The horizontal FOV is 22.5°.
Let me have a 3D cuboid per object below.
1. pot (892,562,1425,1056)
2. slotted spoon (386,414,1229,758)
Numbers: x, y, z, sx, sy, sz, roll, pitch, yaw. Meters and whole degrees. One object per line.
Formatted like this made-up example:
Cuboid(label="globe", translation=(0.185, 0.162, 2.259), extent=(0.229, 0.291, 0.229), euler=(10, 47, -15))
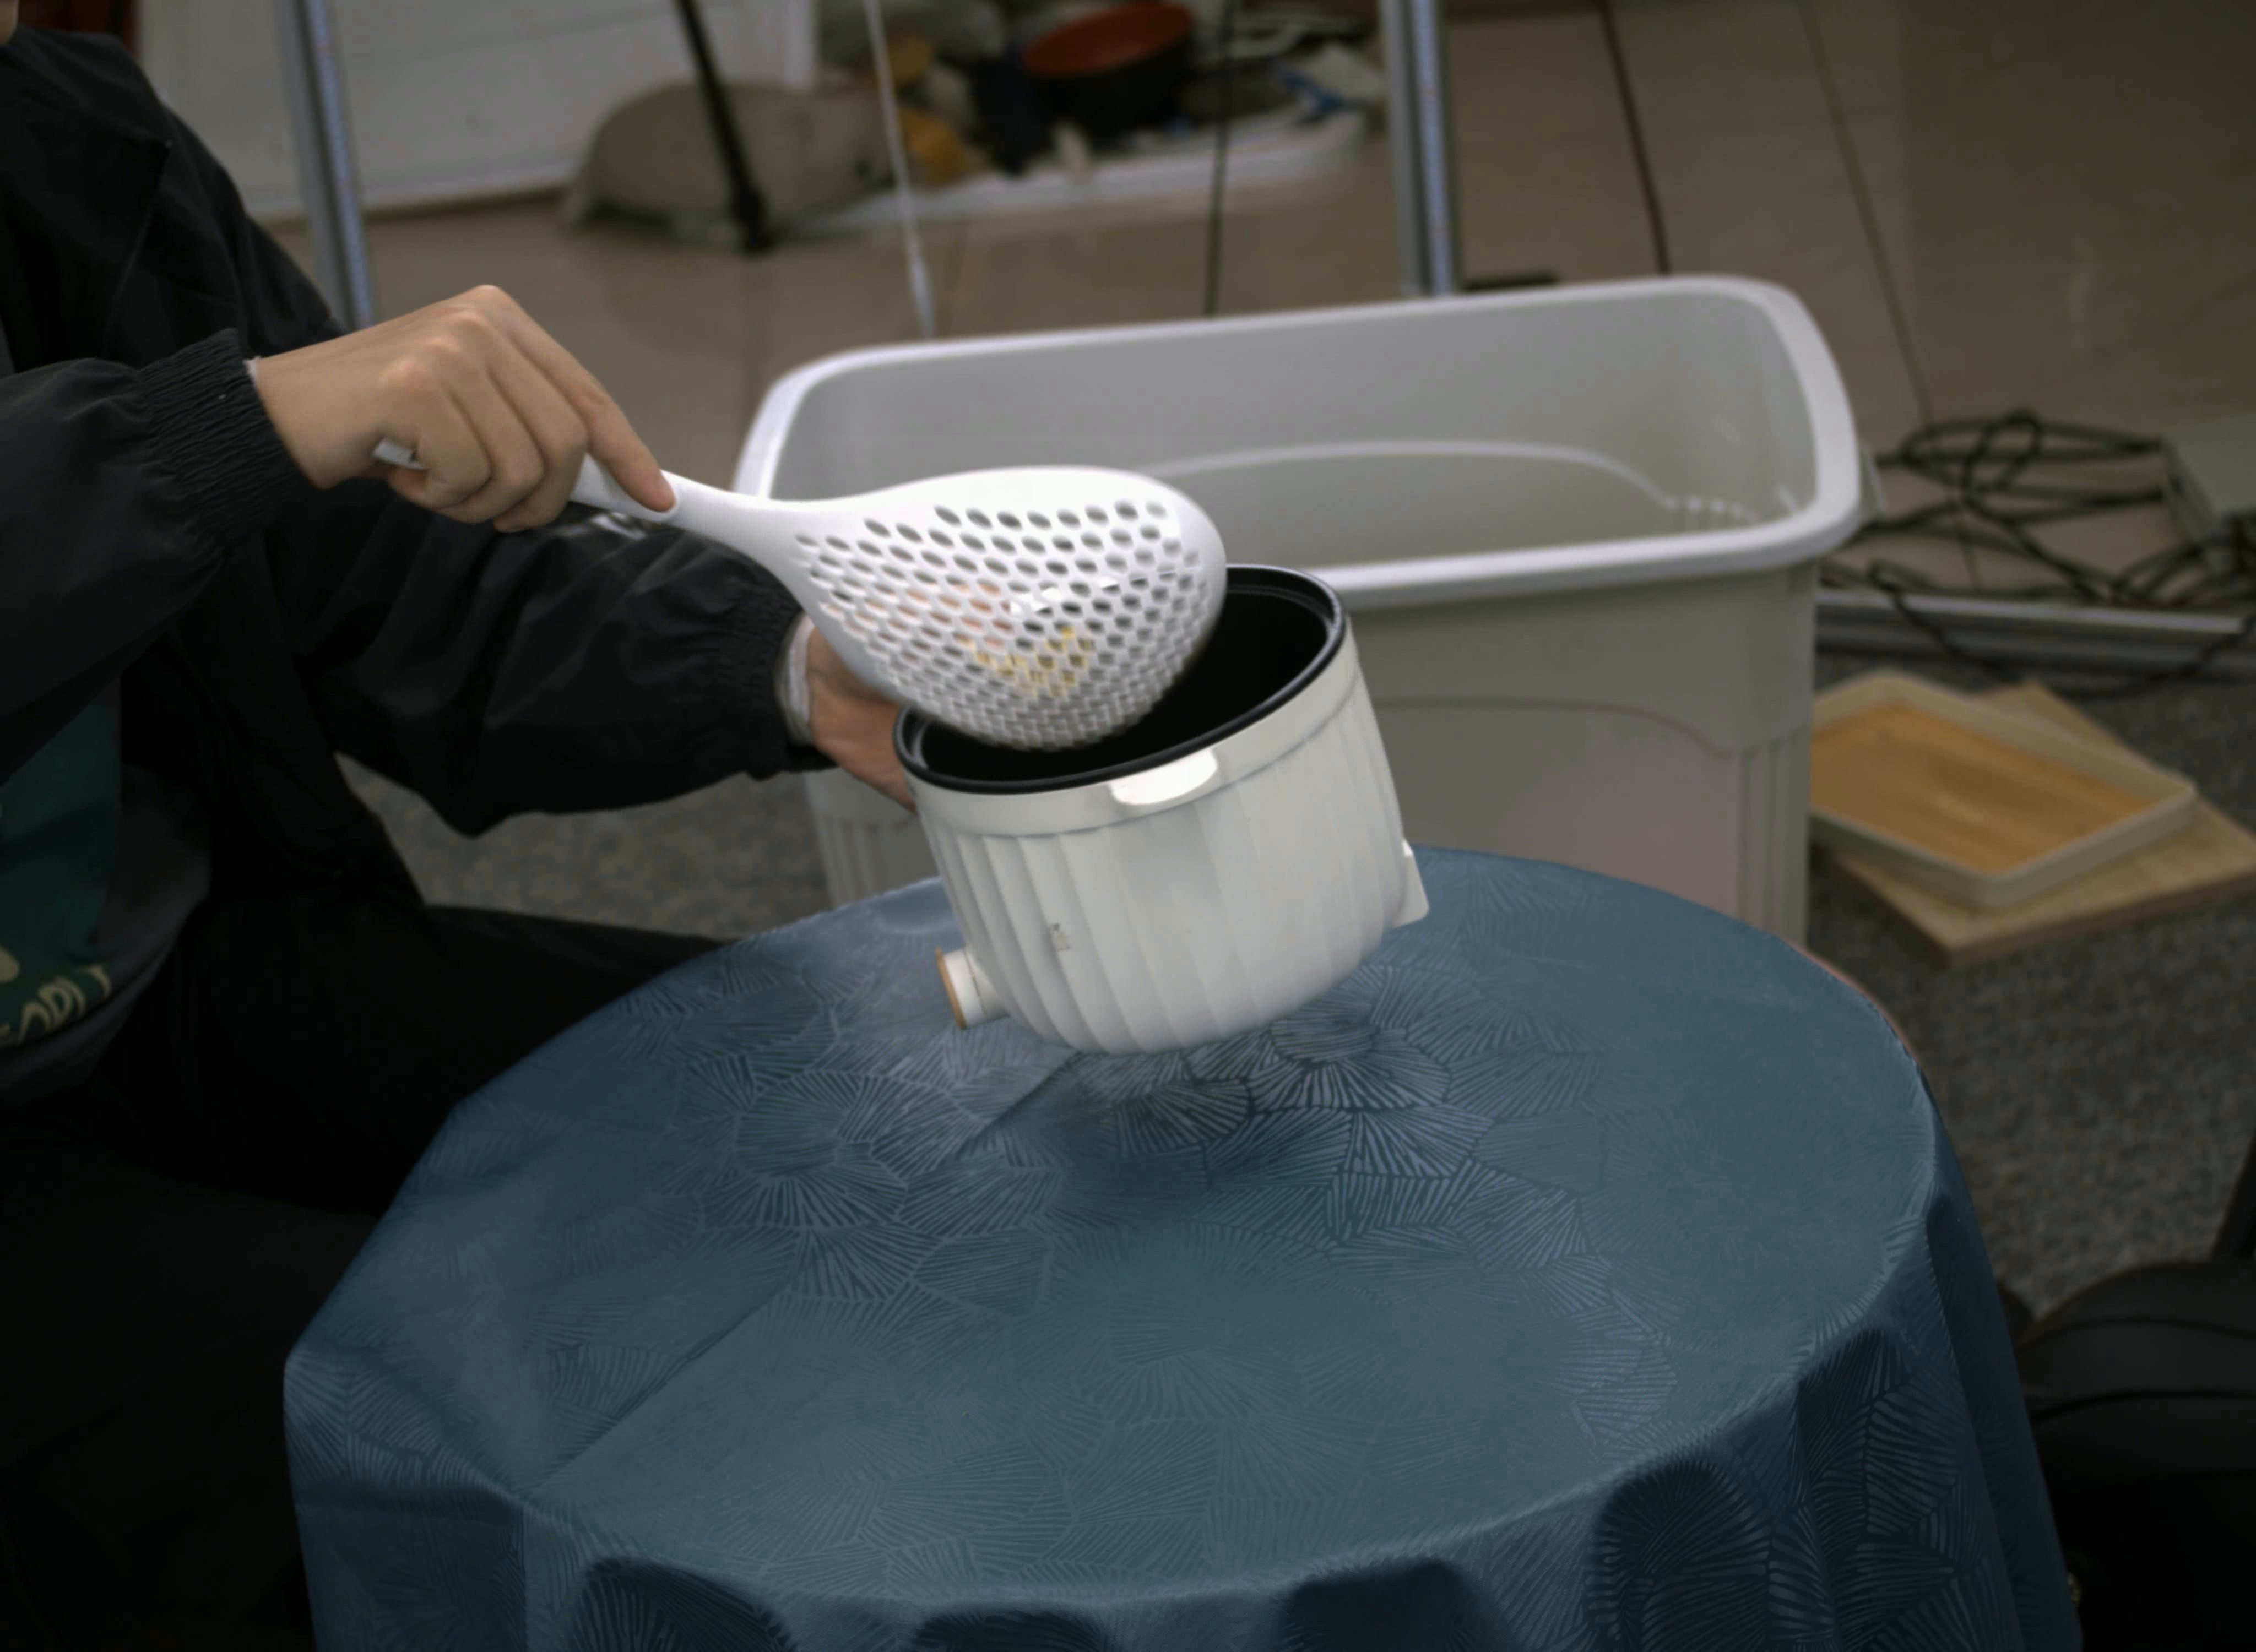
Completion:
Cuboid(label="pot", translation=(0.009, 0.001, 2.185), extent=(0.190, 0.145, 0.237), euler=(-16, 23, -3))
Cuboid(label="slotted spoon", translation=(-0.119, -0.099, 2.086), extent=(0.349, 0.139, 0.049), euler=(18, 35, -26))
